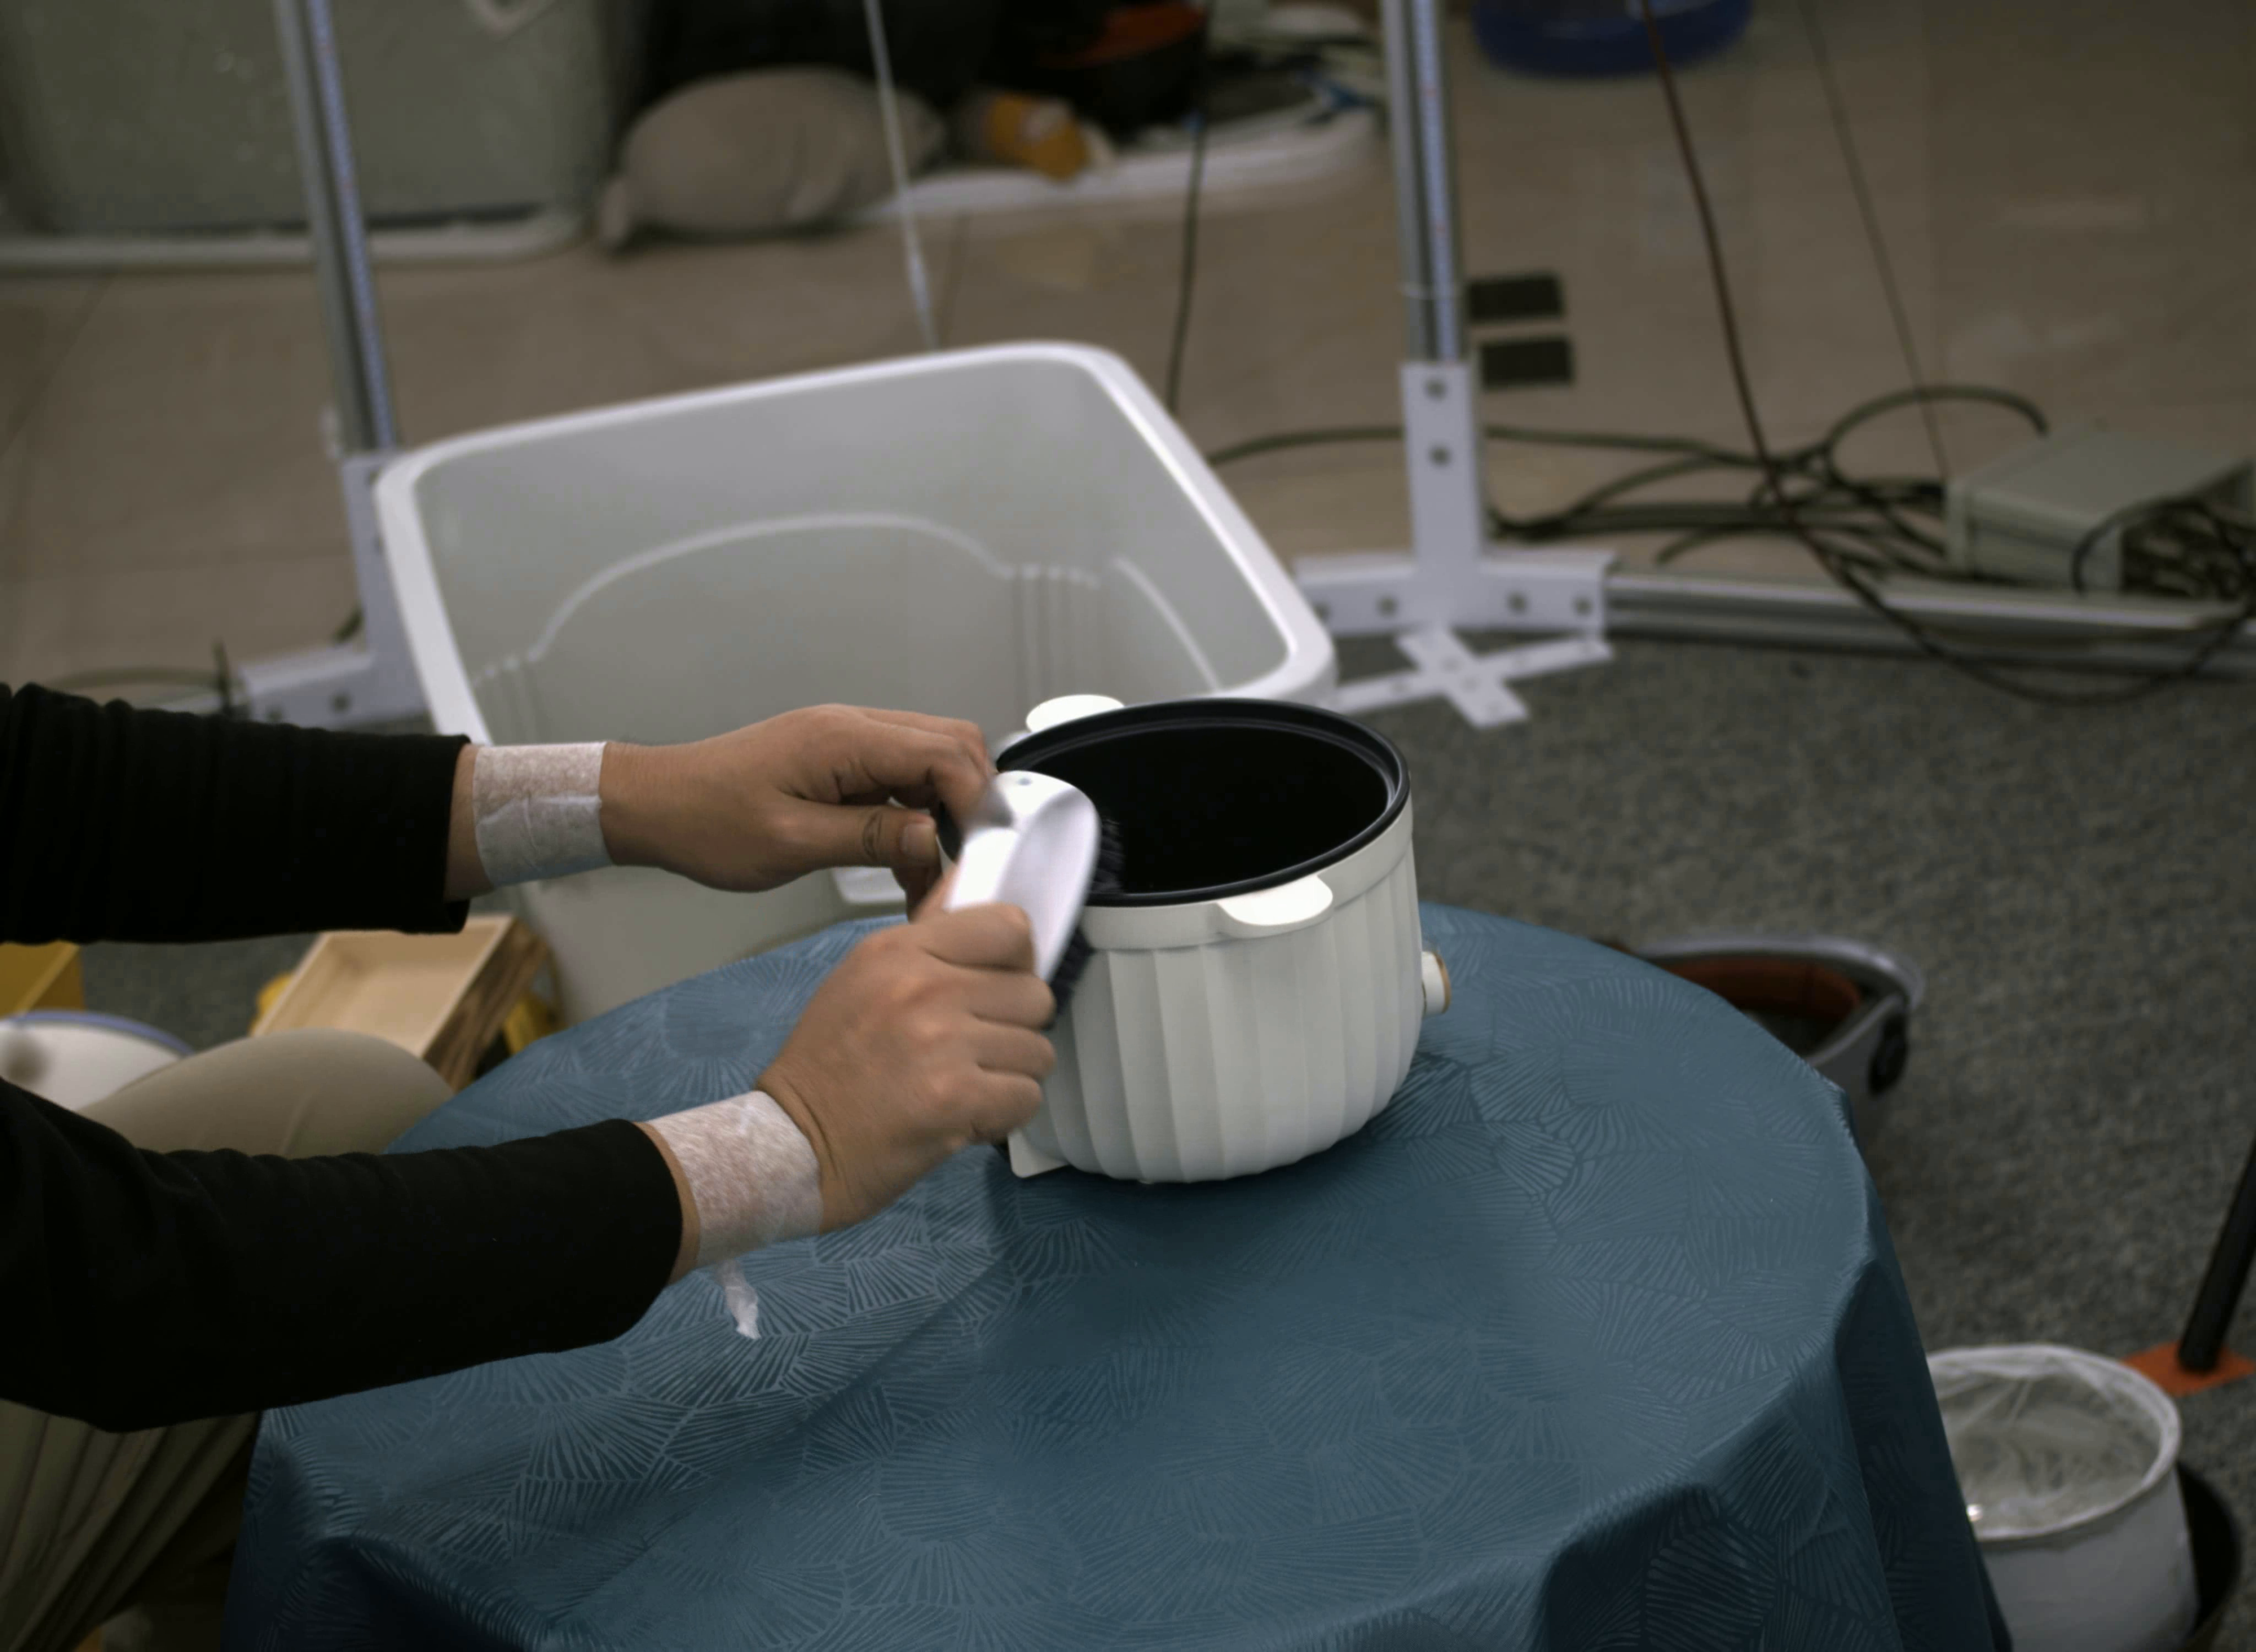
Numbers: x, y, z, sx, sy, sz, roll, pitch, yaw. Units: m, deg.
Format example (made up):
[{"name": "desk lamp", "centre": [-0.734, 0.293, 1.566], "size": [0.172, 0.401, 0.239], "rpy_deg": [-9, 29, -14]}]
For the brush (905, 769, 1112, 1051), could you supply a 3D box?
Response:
[{"name": "brush", "centre": [-0.050, 0.026, 2.059], "size": [0.050, 0.073, 0.099], "rpy_deg": [22, 80, 22]}]

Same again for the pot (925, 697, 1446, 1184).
[{"name": "pot", "centre": [0.026, 0.047, 2.174], "size": [0.190, 0.145, 0.237], "rpy_deg": [-18, 29, -17]}]
